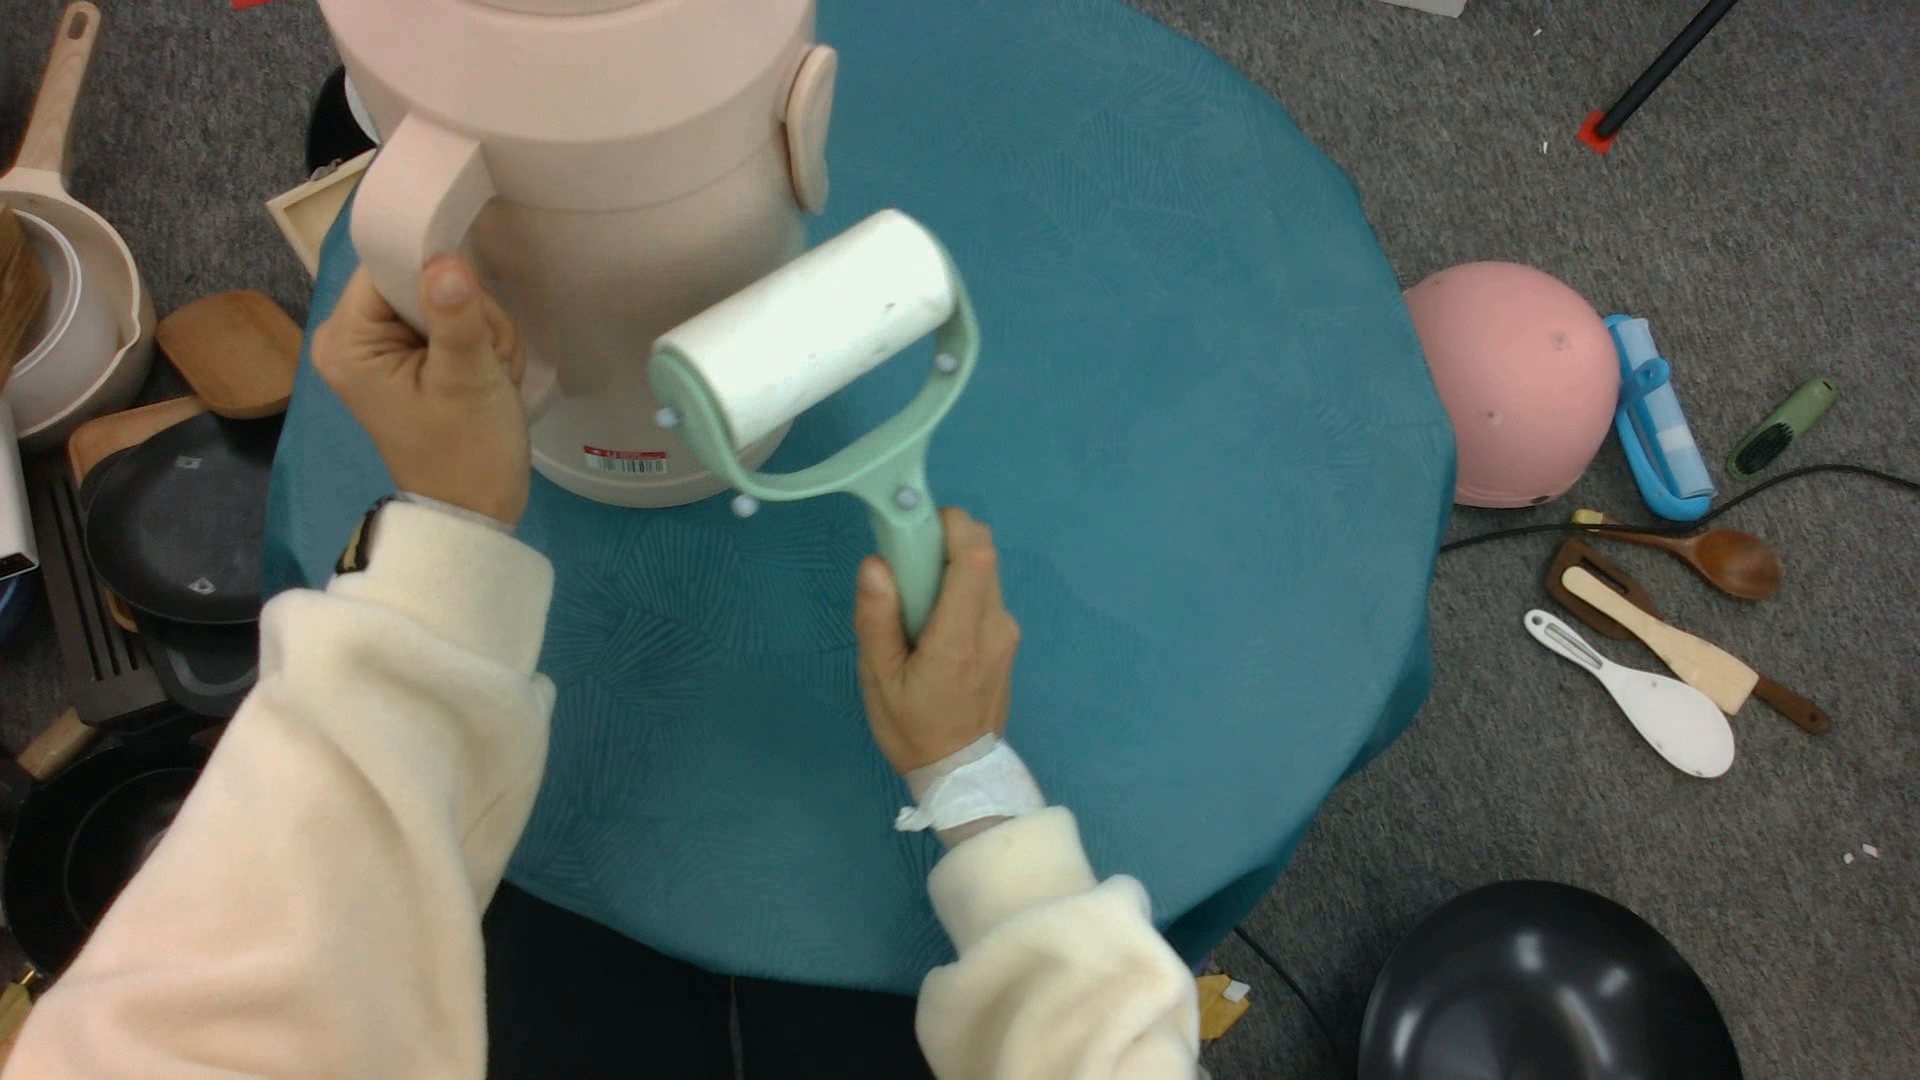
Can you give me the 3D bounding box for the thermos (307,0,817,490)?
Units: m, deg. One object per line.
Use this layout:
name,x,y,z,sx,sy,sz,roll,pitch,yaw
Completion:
thermos,-0.148,-0.151,0.520,0.175,0.405,0.208,24,69,0

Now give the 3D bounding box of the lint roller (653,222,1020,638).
lint roller,-0.023,-0.016,0.534,0.117,0.048,0.197,-53,128,-18
